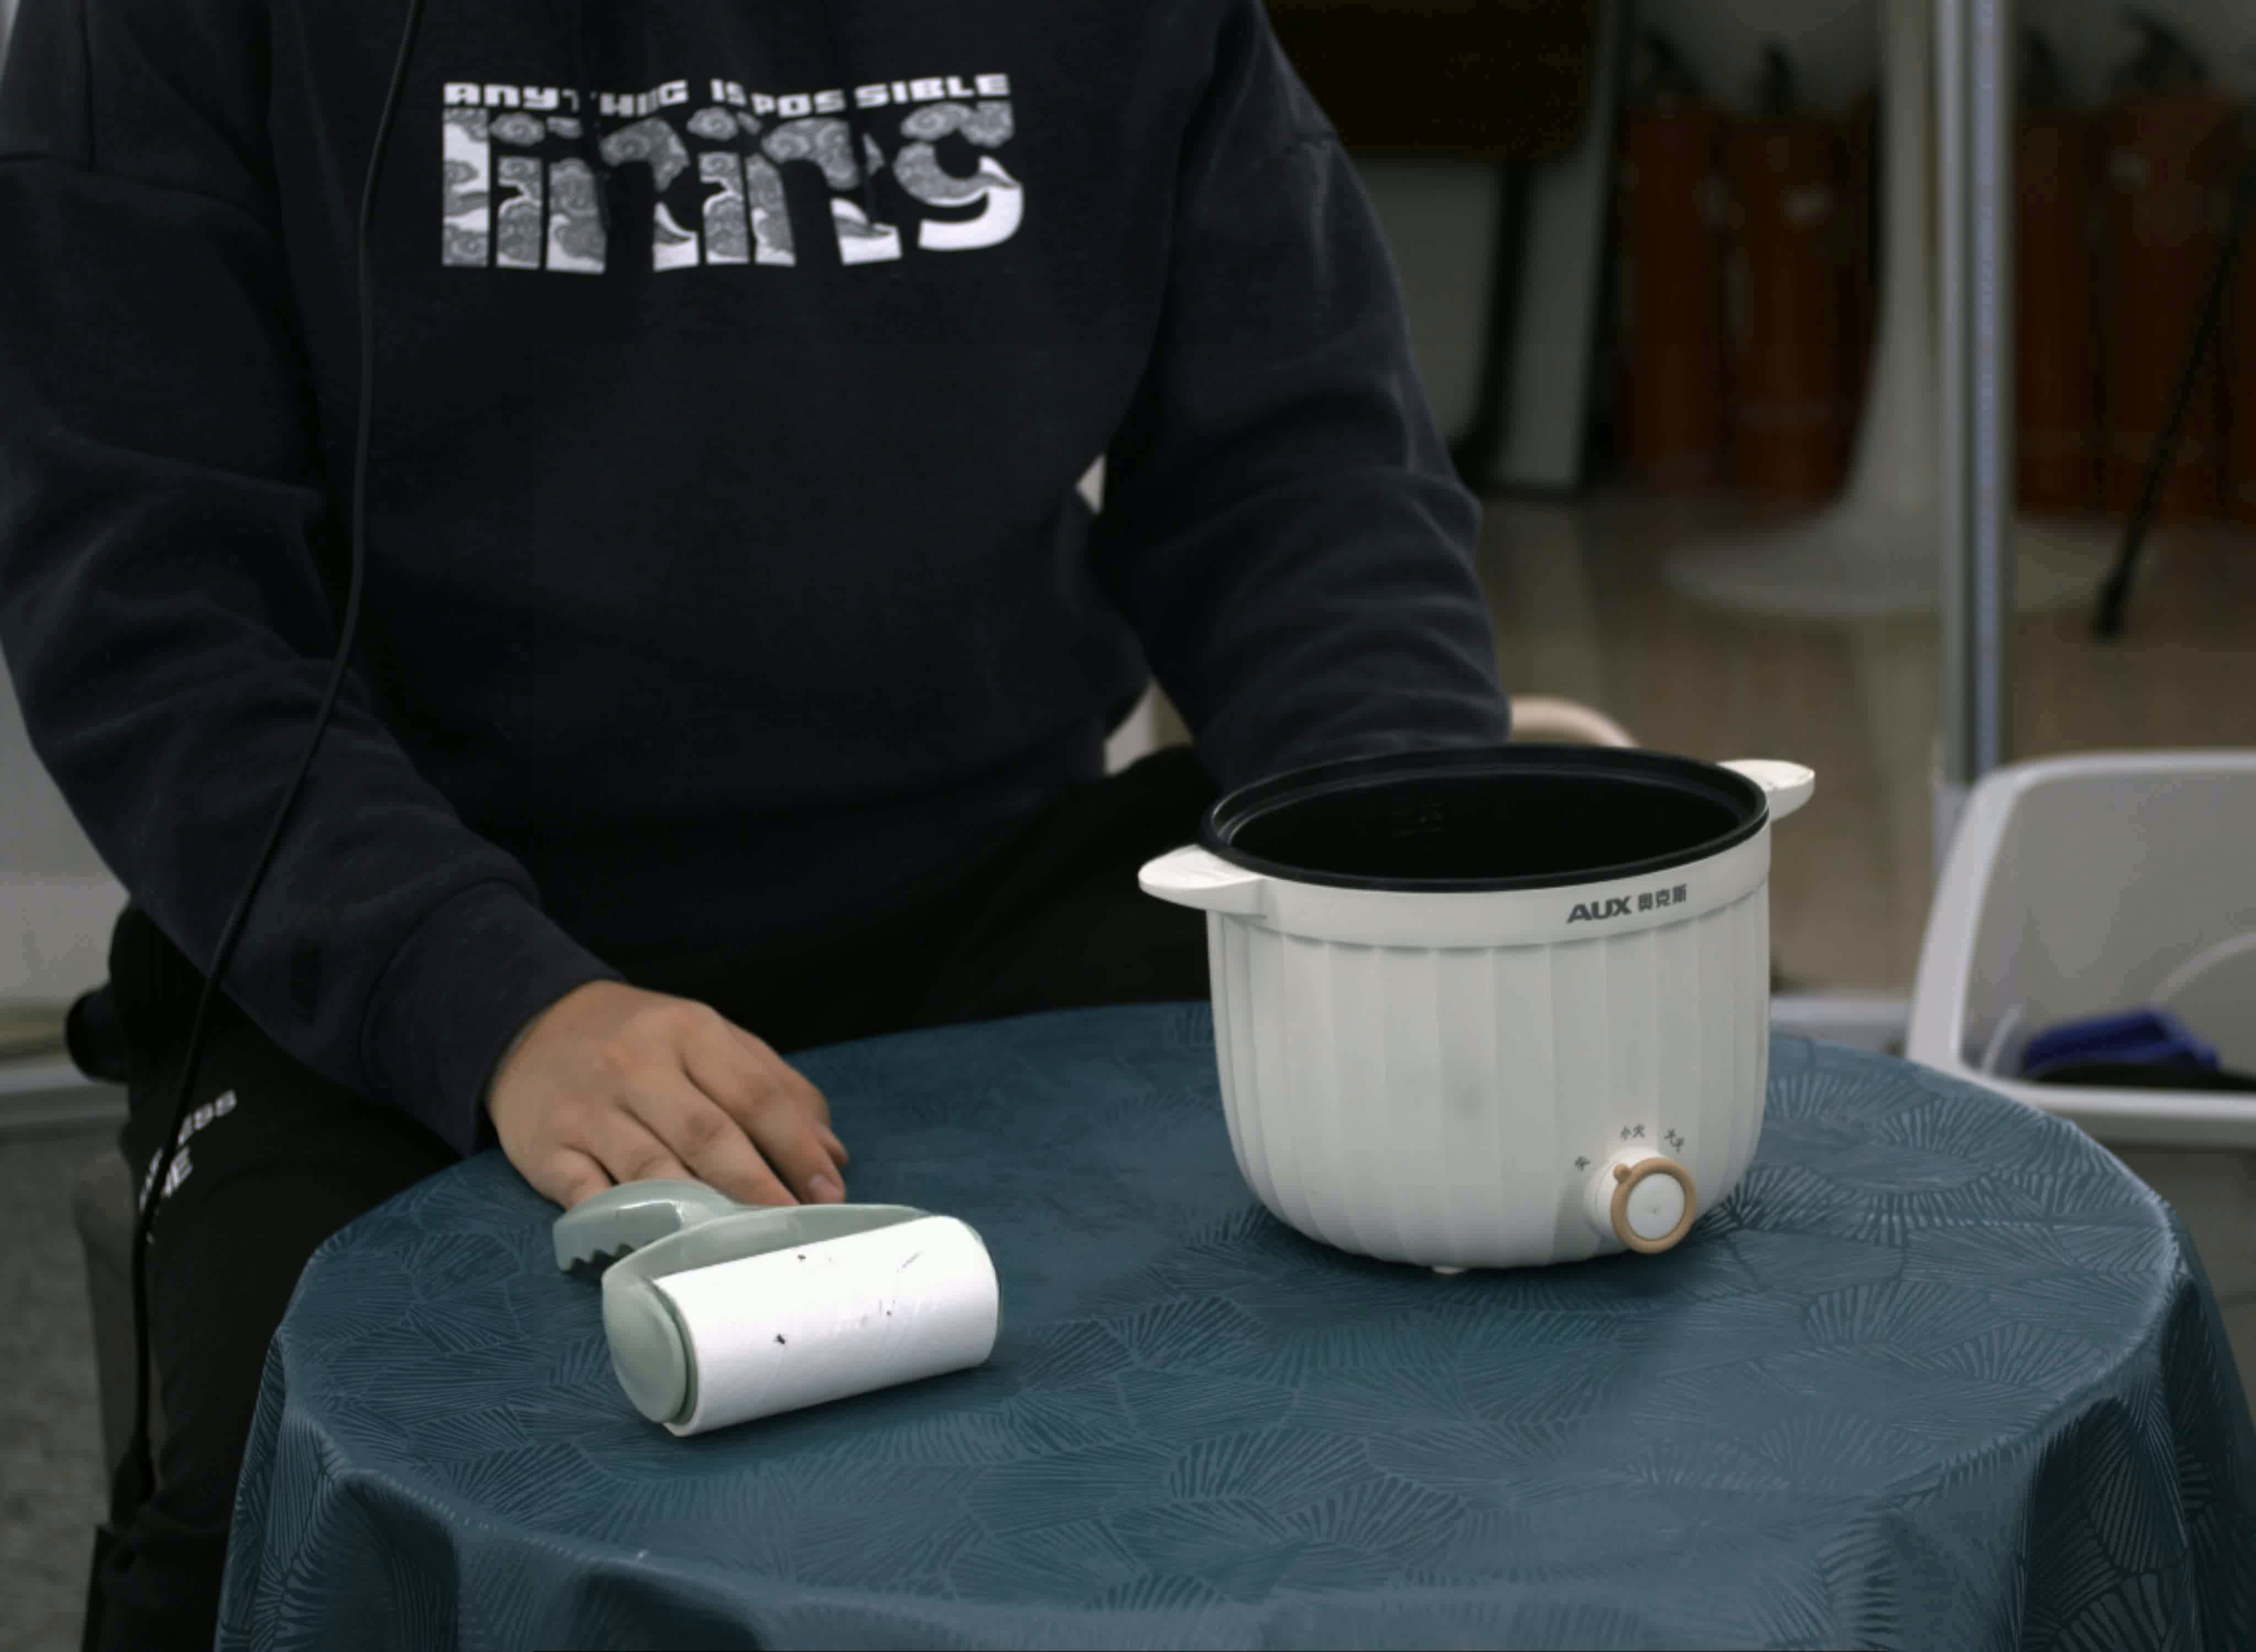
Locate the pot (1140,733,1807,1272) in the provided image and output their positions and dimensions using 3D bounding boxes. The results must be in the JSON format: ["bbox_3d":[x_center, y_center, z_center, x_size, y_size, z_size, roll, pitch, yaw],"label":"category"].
[{"bbox_3d":[0.119,0.057,1.708,0.235,0.144,0.192,-11,12,-23],"label":"pot"}]

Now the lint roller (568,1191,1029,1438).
[{"bbox_3d":[-0.121,0.136,1.658,0.114,0.049,0.199,-14,14,-28],"label":"lint roller"}]
